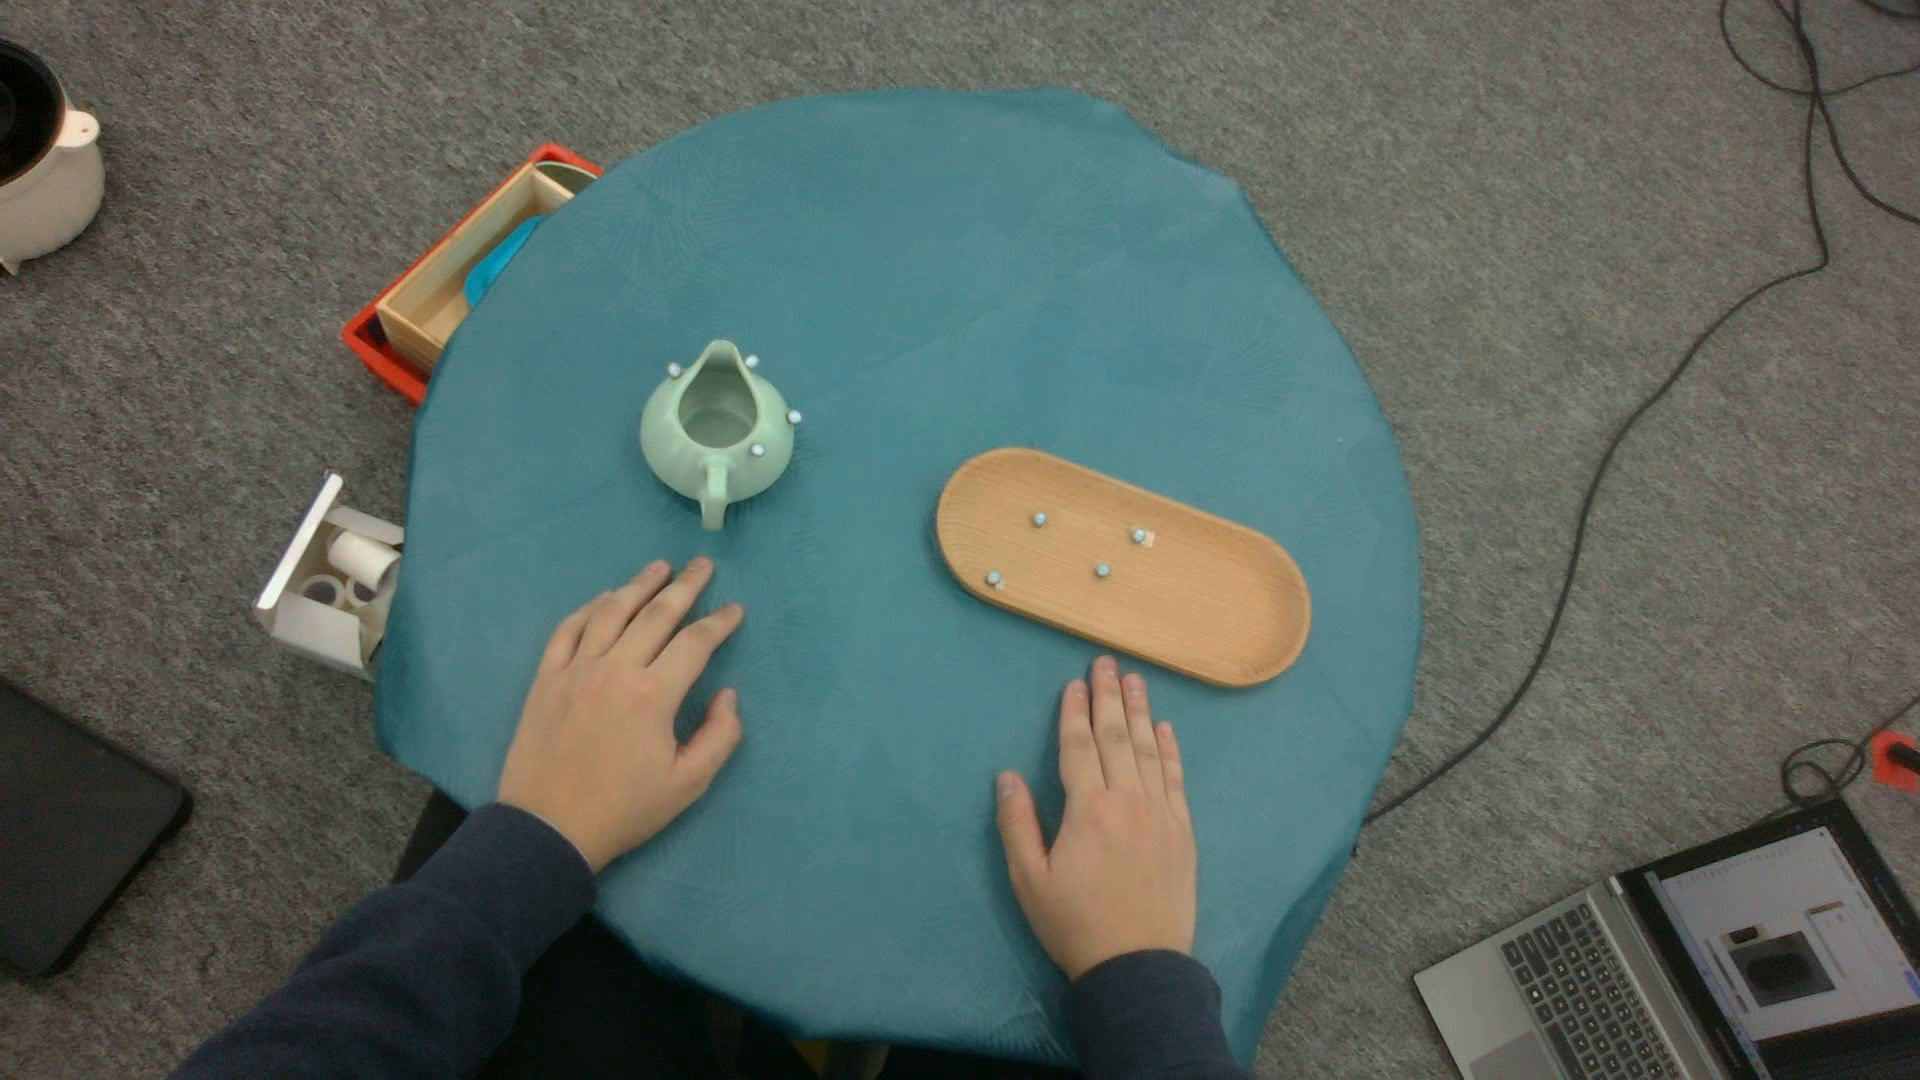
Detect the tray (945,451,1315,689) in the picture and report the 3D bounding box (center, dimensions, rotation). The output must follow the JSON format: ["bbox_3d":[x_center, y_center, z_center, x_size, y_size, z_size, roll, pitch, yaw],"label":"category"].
[{"bbox_3d":[0.102,0.018,0.823,0.231,0.020,0.102,20,68,-4],"label":"tray"}]

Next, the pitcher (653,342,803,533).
[{"bbox_3d":[-0.133,-0.054,0.789,0.086,0.060,0.108,0,71,-9],"label":"pitcher"}]
